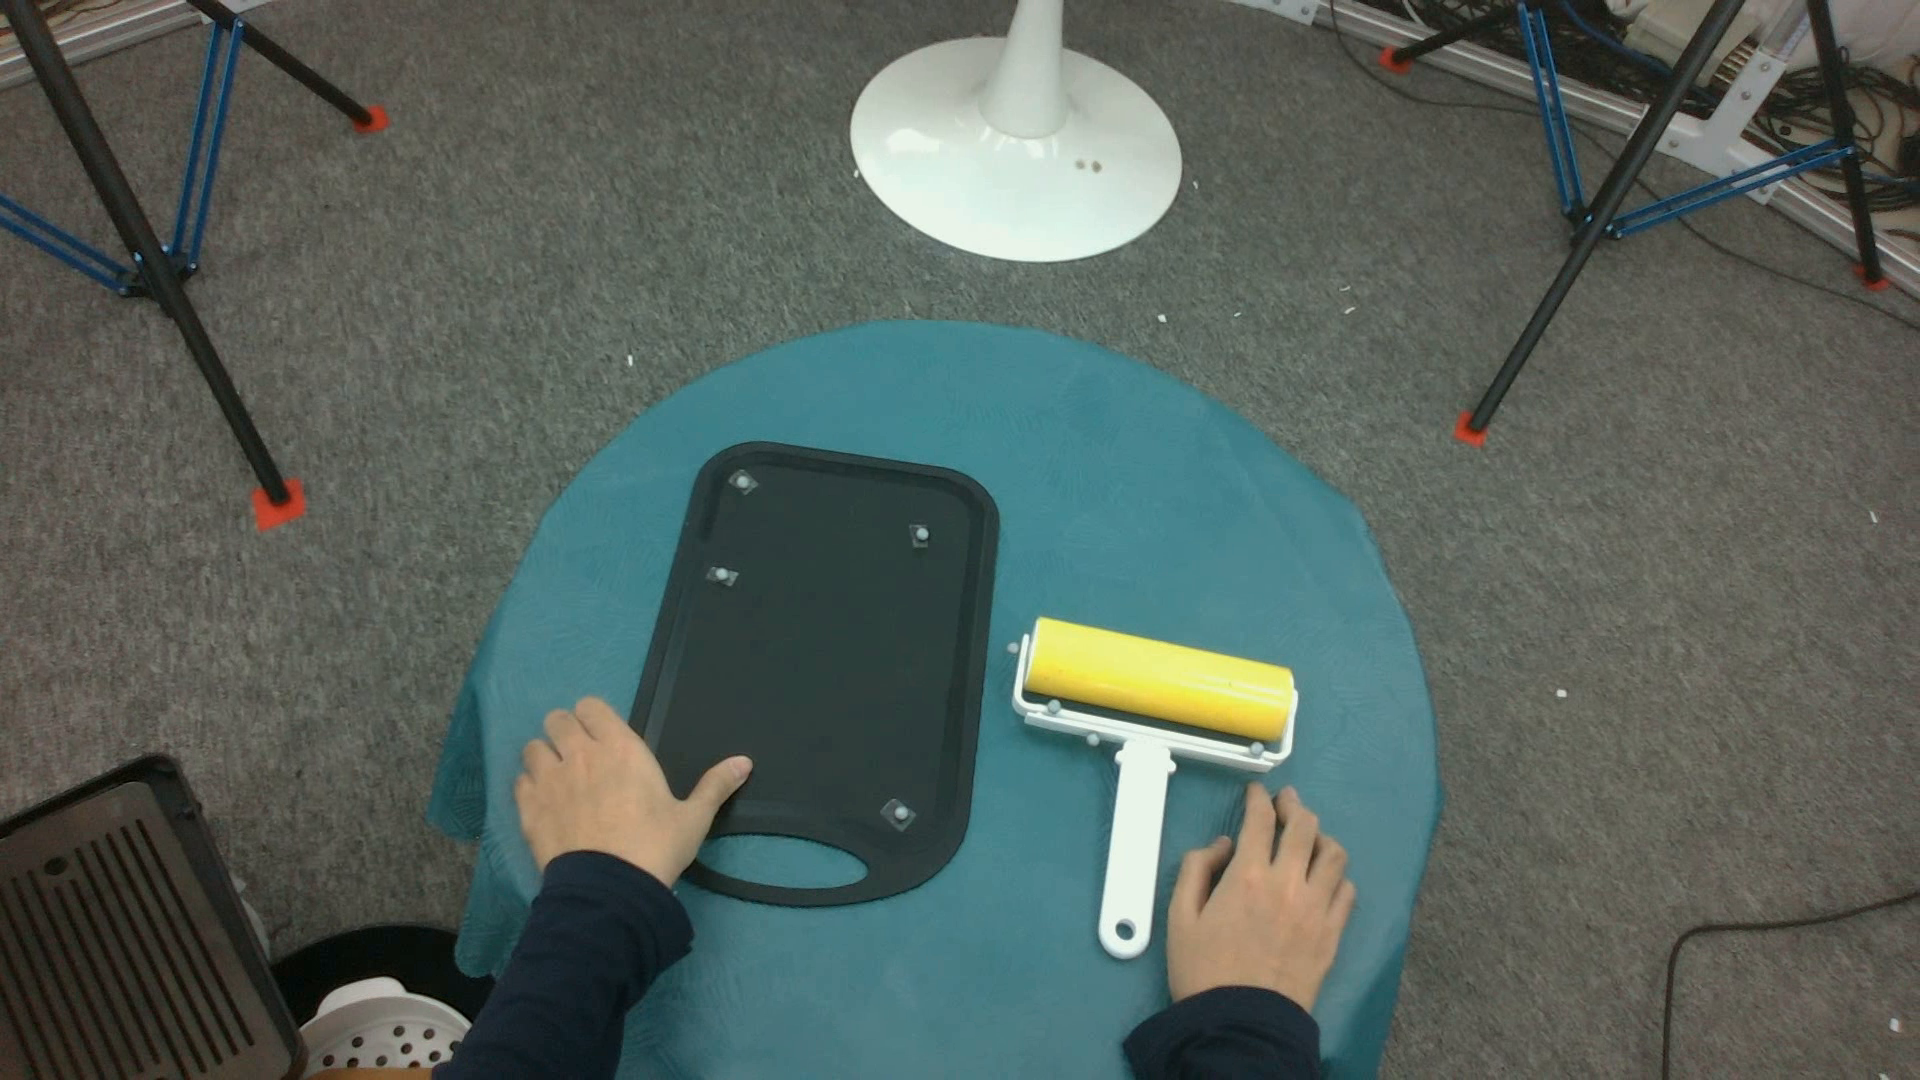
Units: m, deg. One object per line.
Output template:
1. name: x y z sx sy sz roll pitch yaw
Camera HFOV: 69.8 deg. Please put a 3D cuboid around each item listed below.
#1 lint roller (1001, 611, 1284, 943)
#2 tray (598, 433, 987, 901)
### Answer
1. lint roller: 0.104 0.138 0.815 0.174 0.051 0.193 10 51 0
2. tray: -0.096 0.067 0.861 0.211 0.010 0.327 8 55 -2
